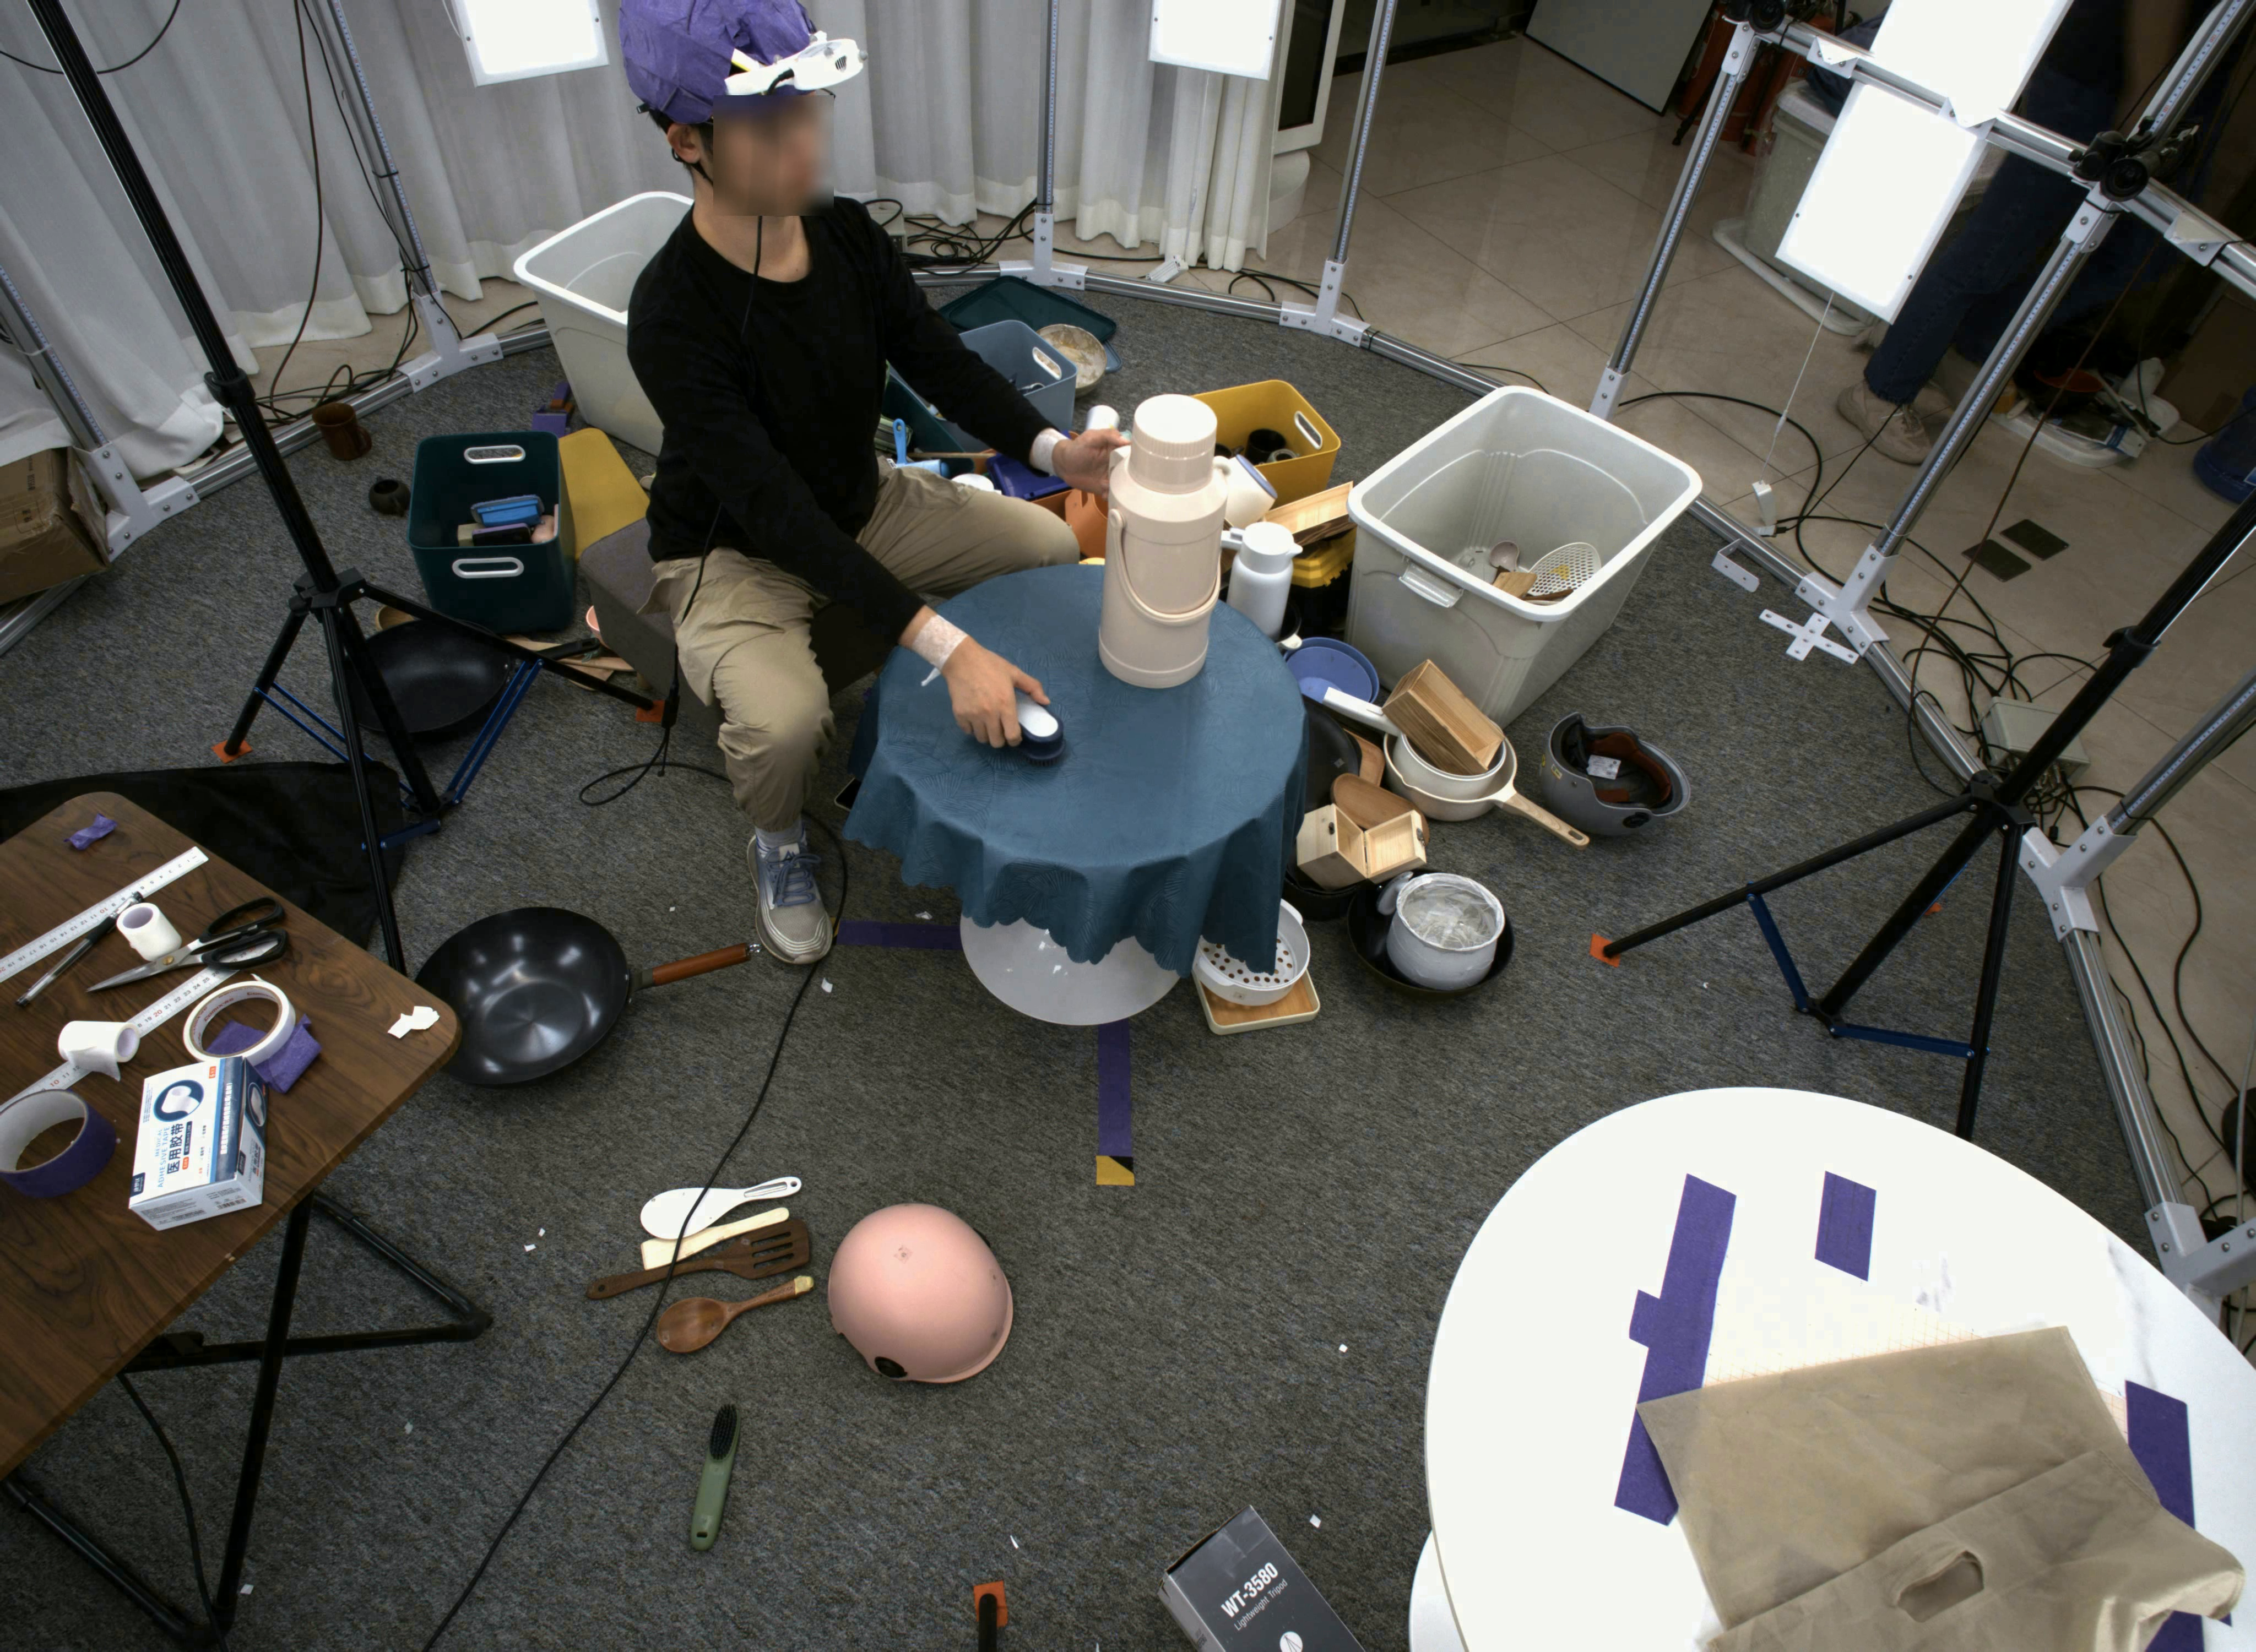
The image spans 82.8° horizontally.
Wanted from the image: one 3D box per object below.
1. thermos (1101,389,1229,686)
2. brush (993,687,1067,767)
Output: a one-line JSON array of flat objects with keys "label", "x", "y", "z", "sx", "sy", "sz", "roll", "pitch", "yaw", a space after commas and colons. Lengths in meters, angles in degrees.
[{"label": "thermos", "x": 0.042, "y": -0.395, "z": 1.760, "sx": 0.176, "sy": 0.396, "sz": 0.211, "roll": -28, "pitch": 57, "yaw": -23}, {"label": "brush", "x": -0.133, "y": -0.133, "z": 1.740, "sx": 0.068, "sy": 0.060, "sz": 0.124, "roll": -28, "pitch": 59, "yaw": -27}]
